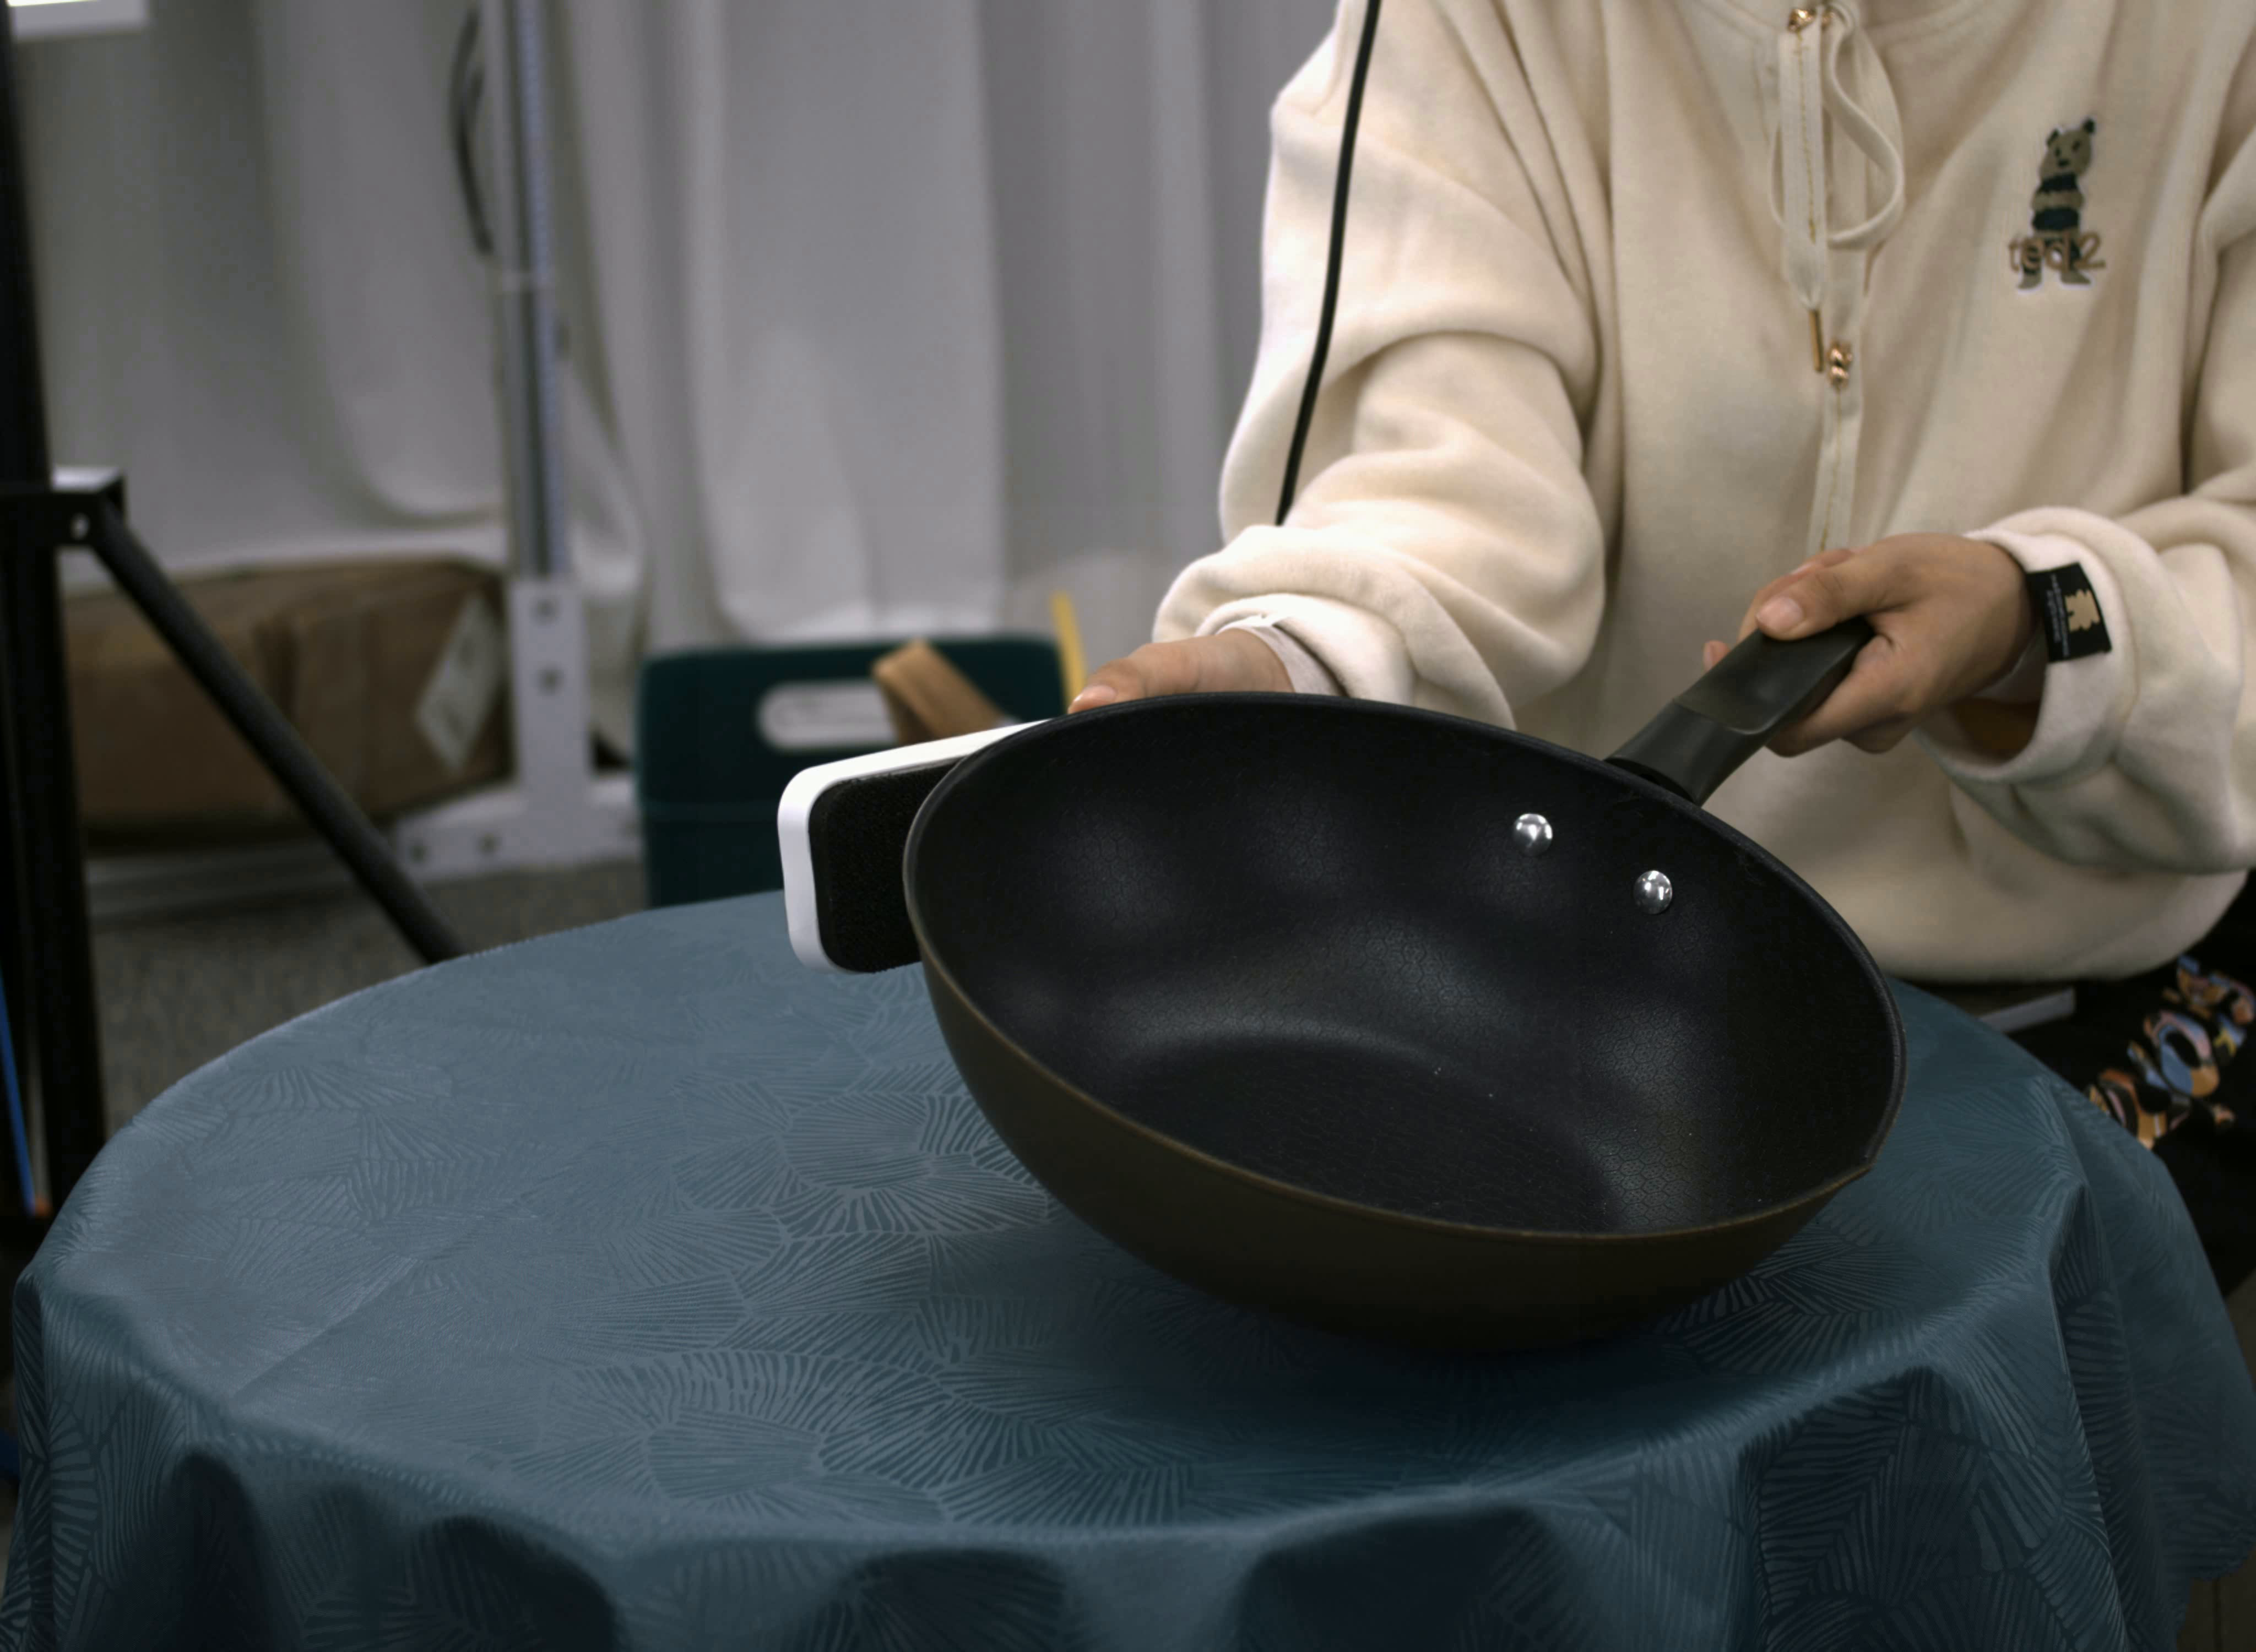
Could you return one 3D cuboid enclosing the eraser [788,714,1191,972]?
[{"bbox_3d":[-0.040,0.003,1.548,0.128,0.063,0.035,-11,13,-33],"label":"eraser"}]

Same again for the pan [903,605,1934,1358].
[{"bbox_3d":[0.116,0.035,1.540,0.293,0.087,0.455,25,31,23],"label":"pan"}]
